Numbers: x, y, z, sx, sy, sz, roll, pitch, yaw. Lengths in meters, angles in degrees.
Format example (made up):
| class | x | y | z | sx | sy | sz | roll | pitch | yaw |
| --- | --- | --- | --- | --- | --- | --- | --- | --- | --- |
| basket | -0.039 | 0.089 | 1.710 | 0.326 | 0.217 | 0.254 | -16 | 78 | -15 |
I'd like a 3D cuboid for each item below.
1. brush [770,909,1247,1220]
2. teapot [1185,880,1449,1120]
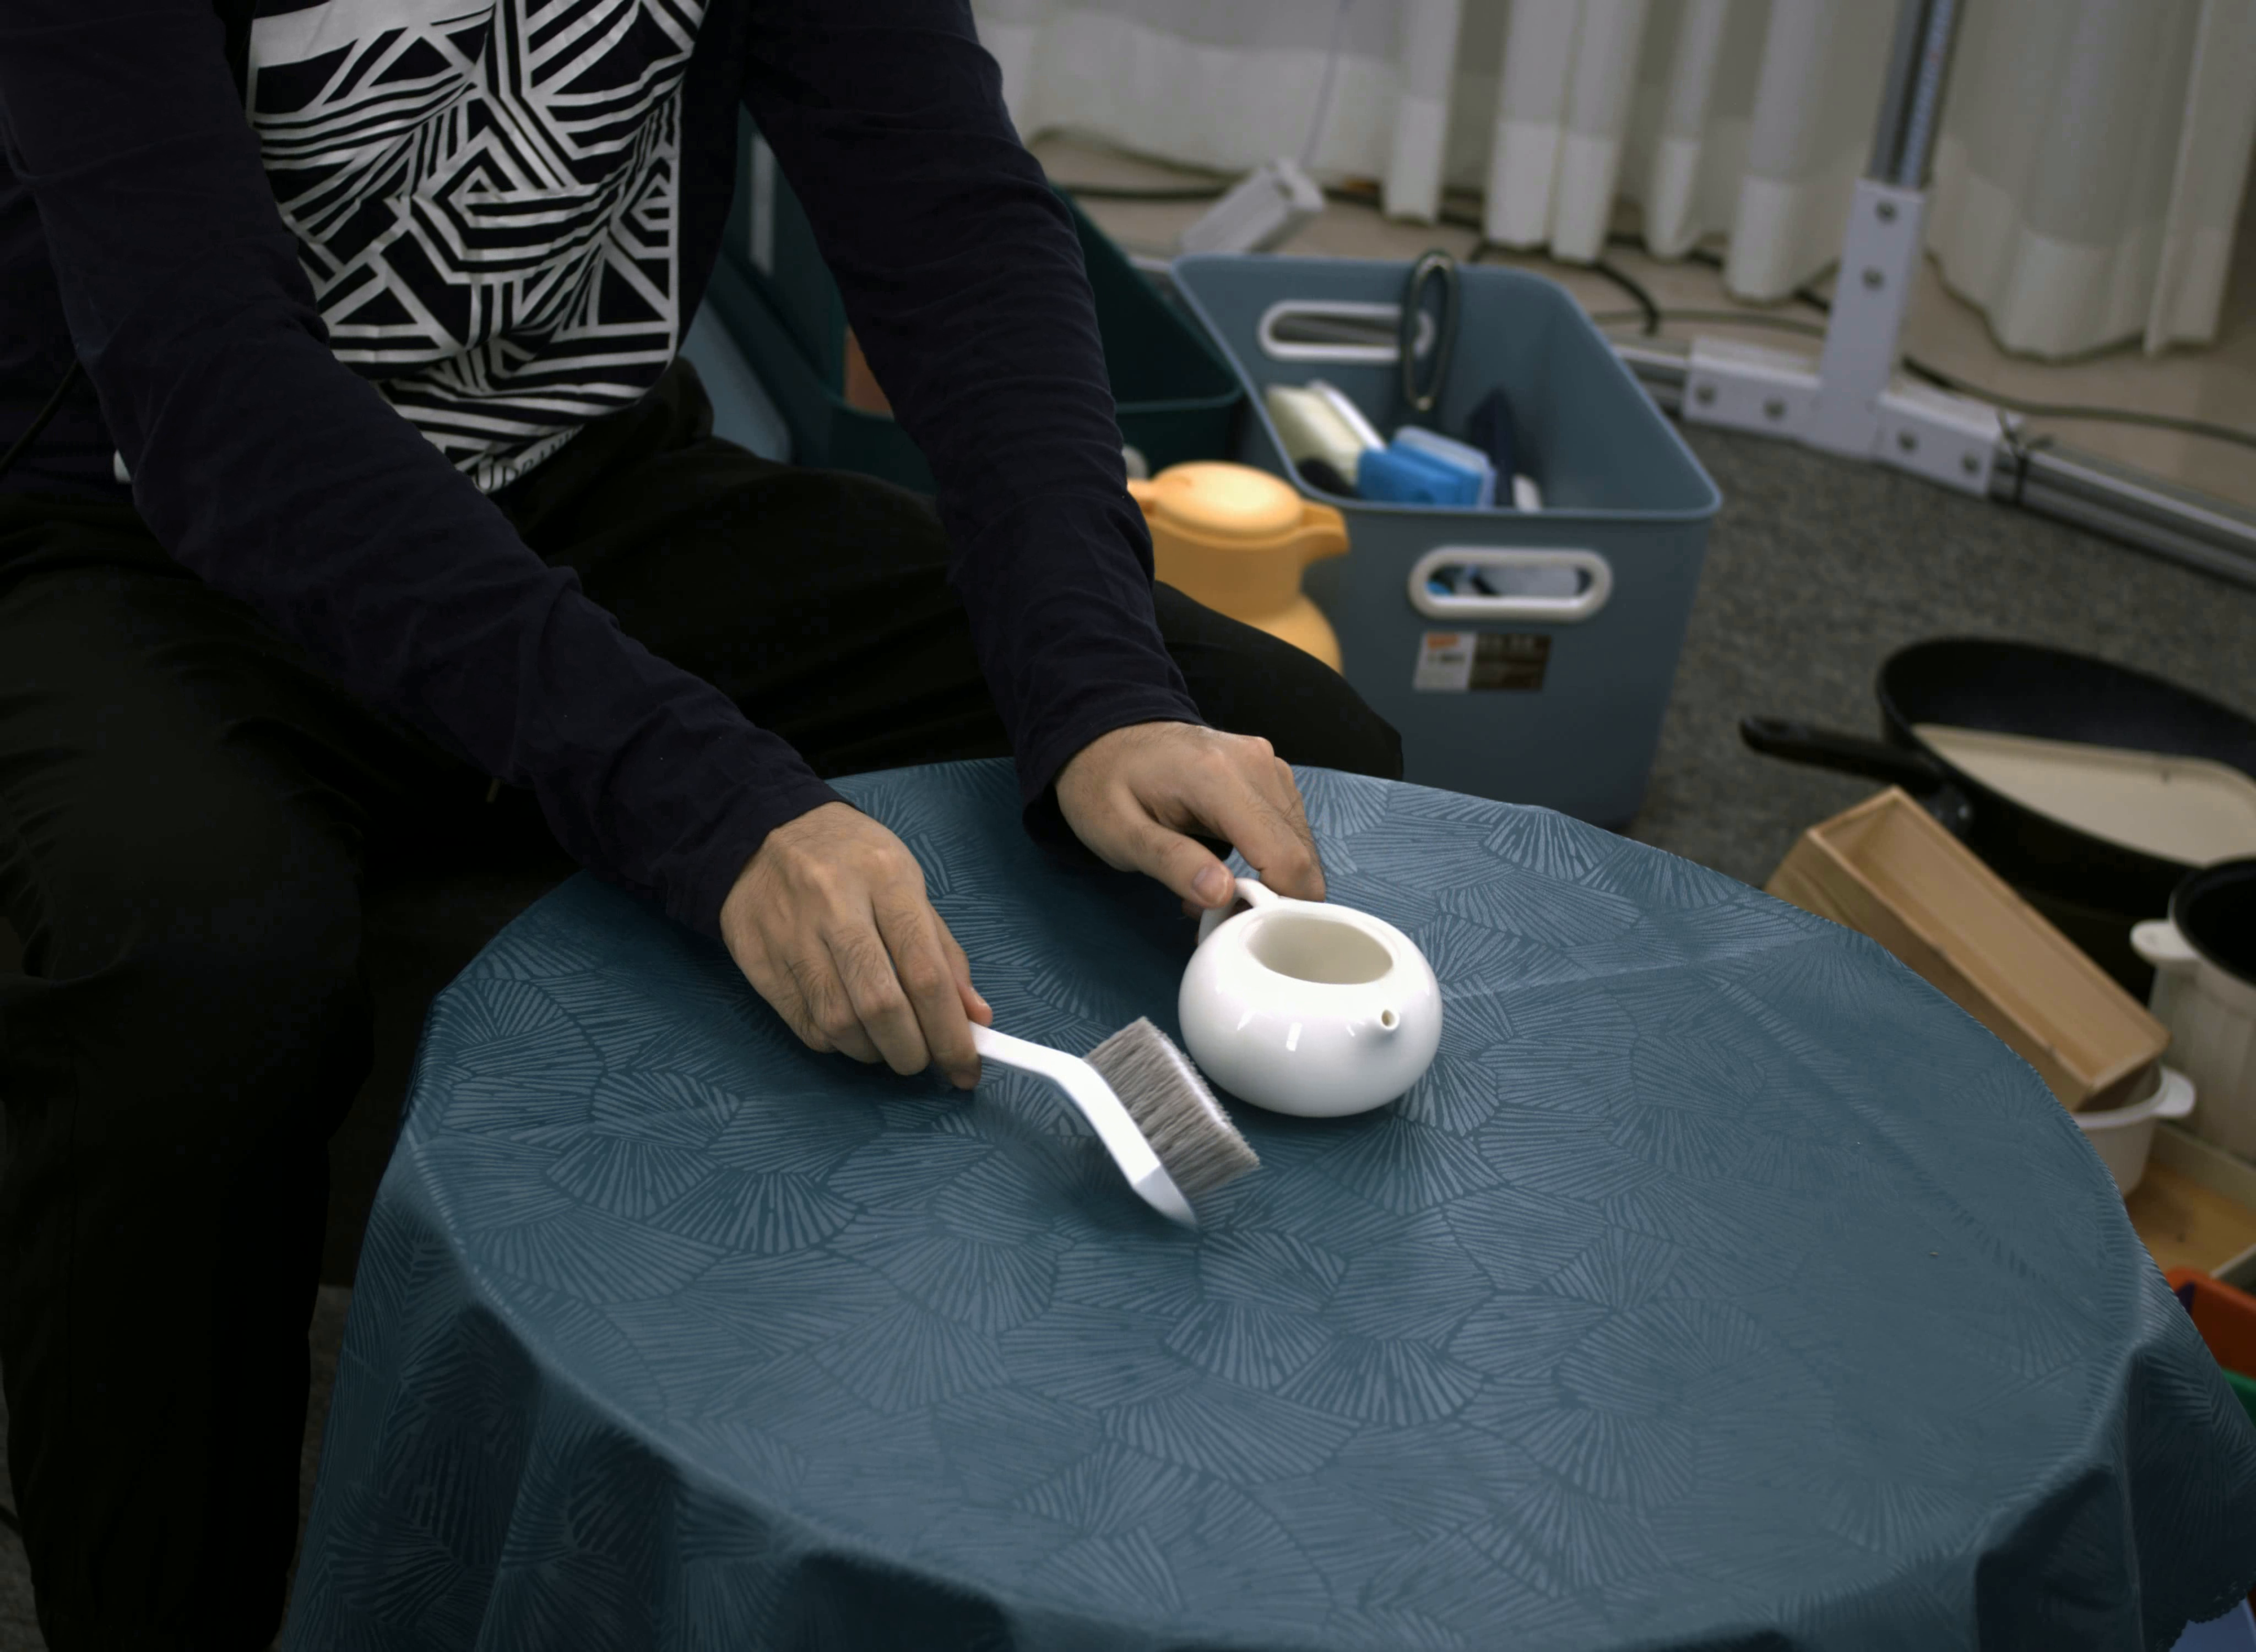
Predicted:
| class | x | y | z | sx | sy | sz | roll | pitch | yaw |
| --- | --- | --- | --- | --- | --- | --- | --- | --- | --- |
| brush | -0.044 | 0.065 | 1.855 | 0.034 | 0.050 | 0.246 | 27 | 5 | -45 |
| teapot | 0.061 | 0.061 | 1.885 | 0.093 | 0.056 | 0.128 | -16 | 32 | -27 |
